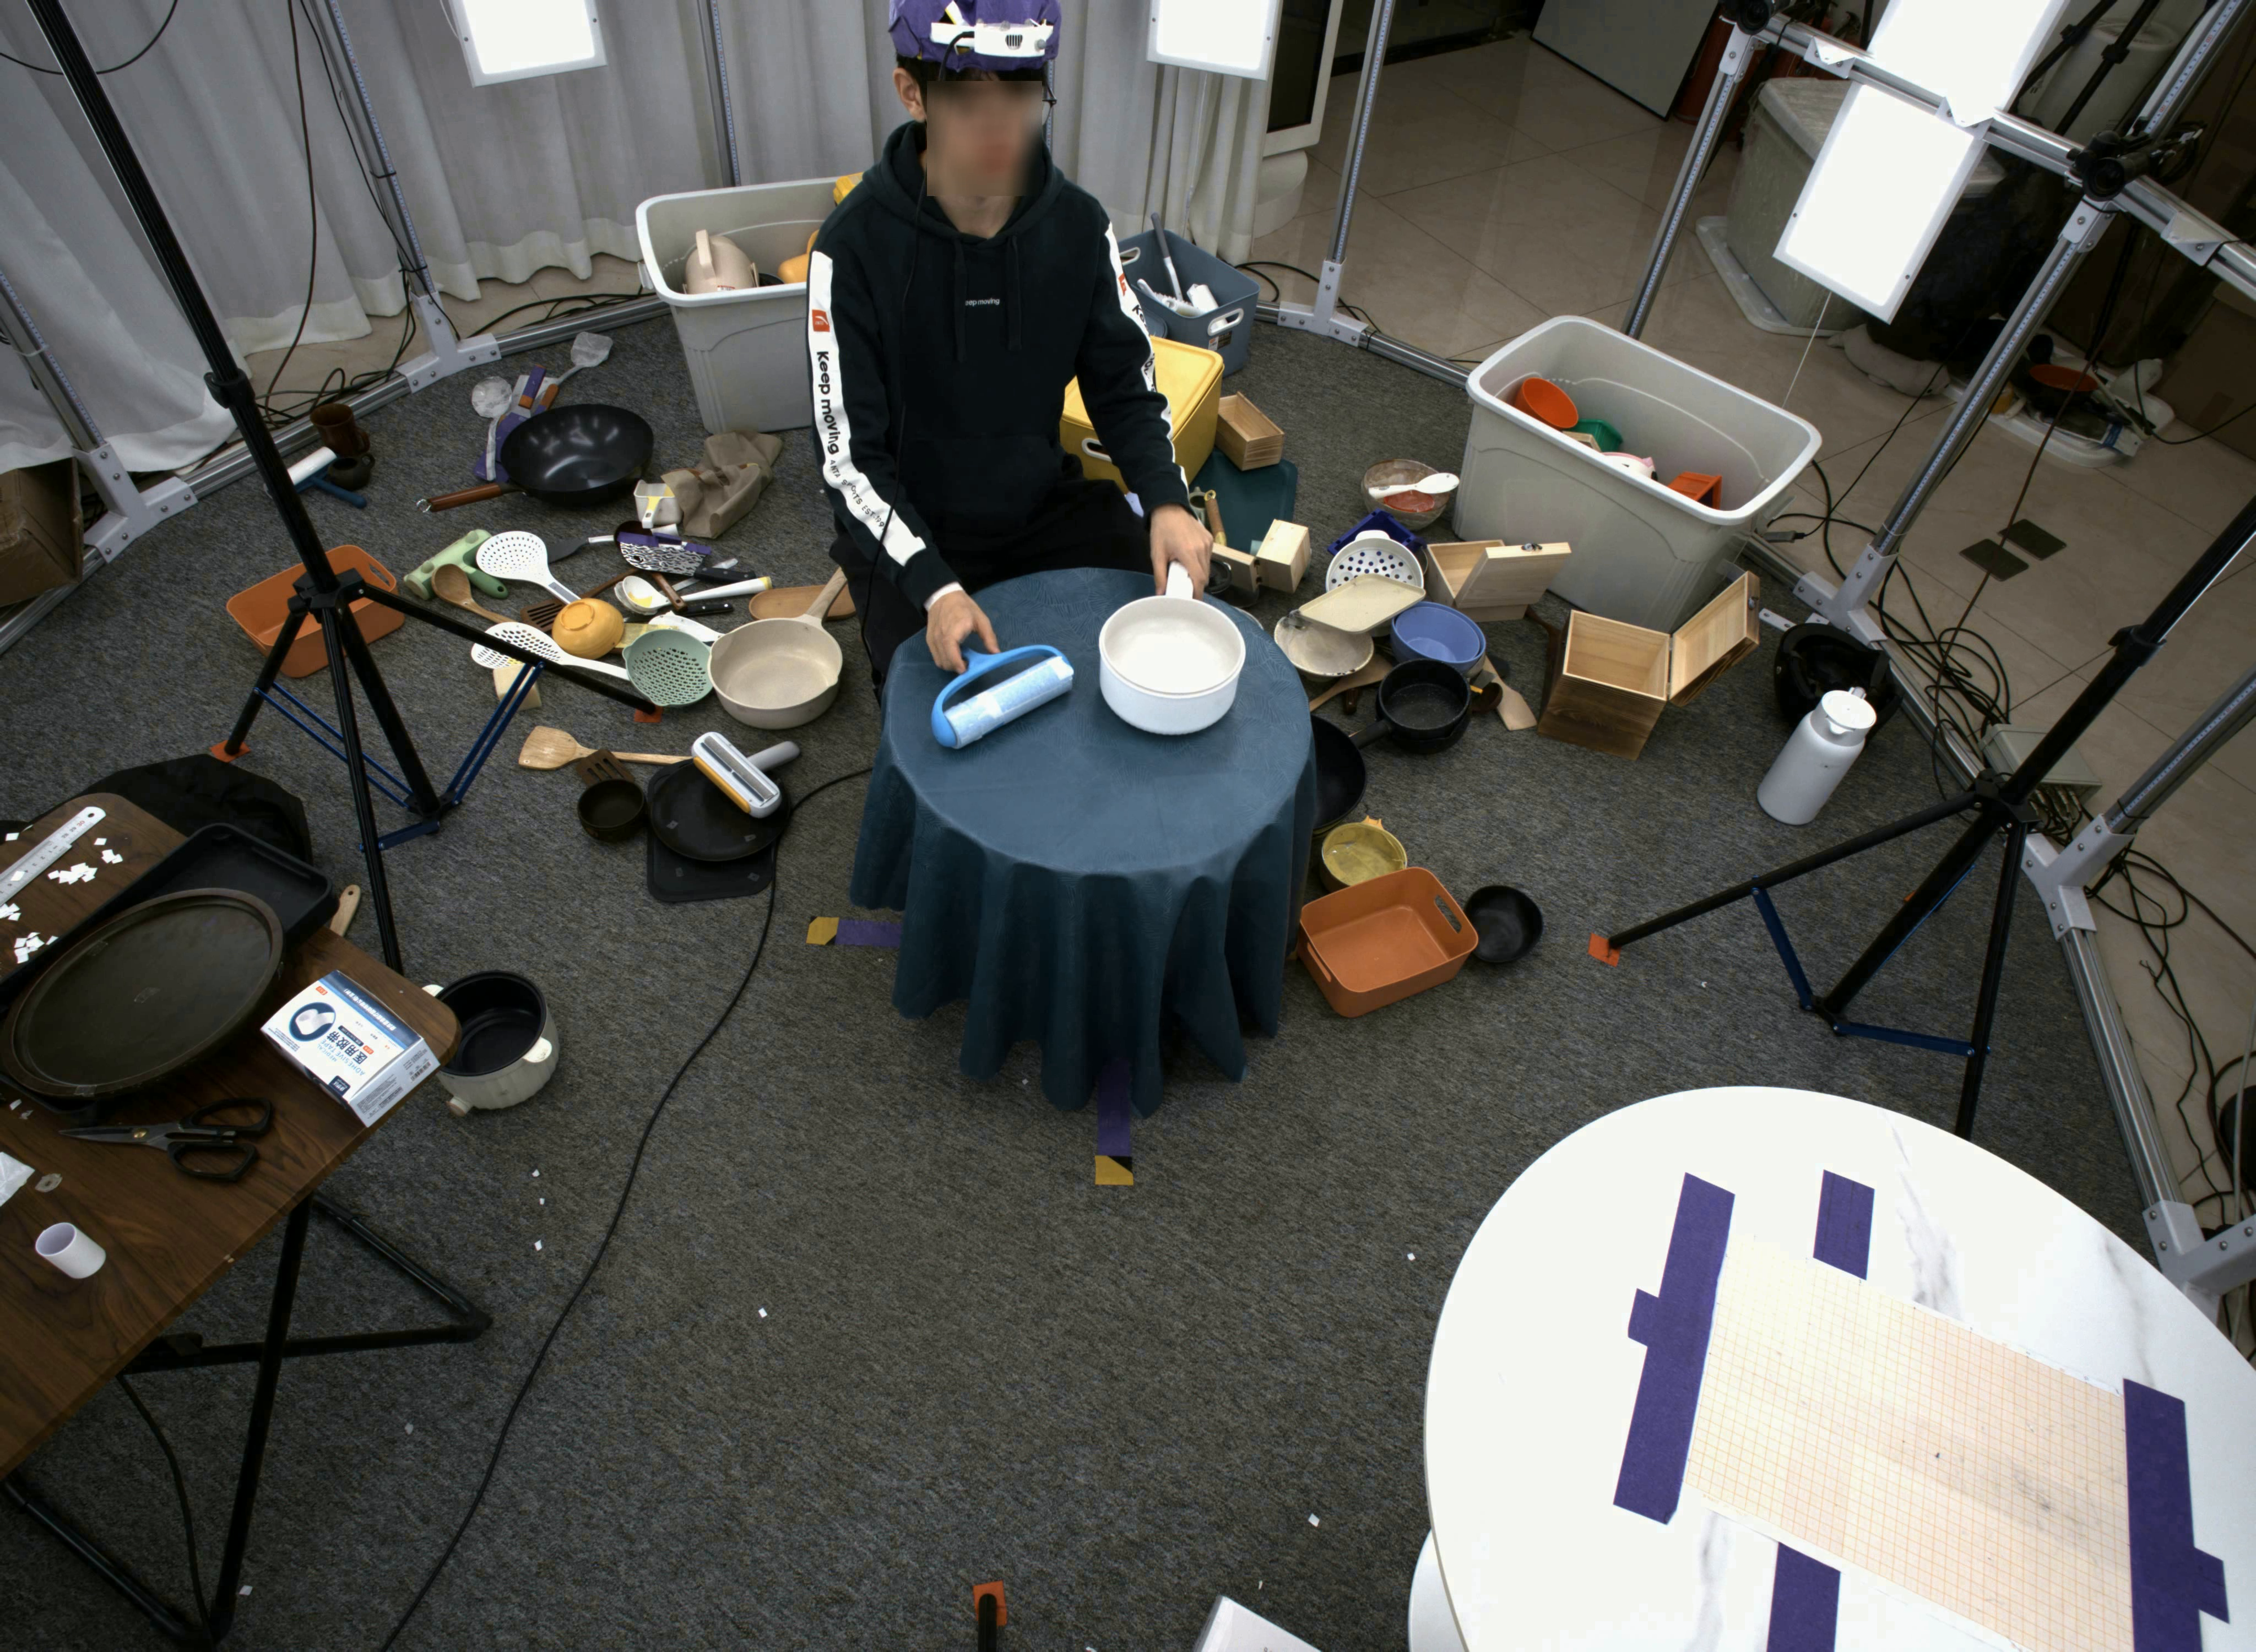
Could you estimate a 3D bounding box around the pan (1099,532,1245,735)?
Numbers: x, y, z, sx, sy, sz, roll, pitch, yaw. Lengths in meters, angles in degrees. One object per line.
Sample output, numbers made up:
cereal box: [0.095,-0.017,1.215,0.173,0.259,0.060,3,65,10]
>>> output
pan: [0.068,-0.278,1.850,0.201,0.099,0.363,7,48,3]

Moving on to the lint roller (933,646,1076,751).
lint roller: [-0.205,-0.207,1.797,0.231,0.066,0.183,-34,60,-27]
